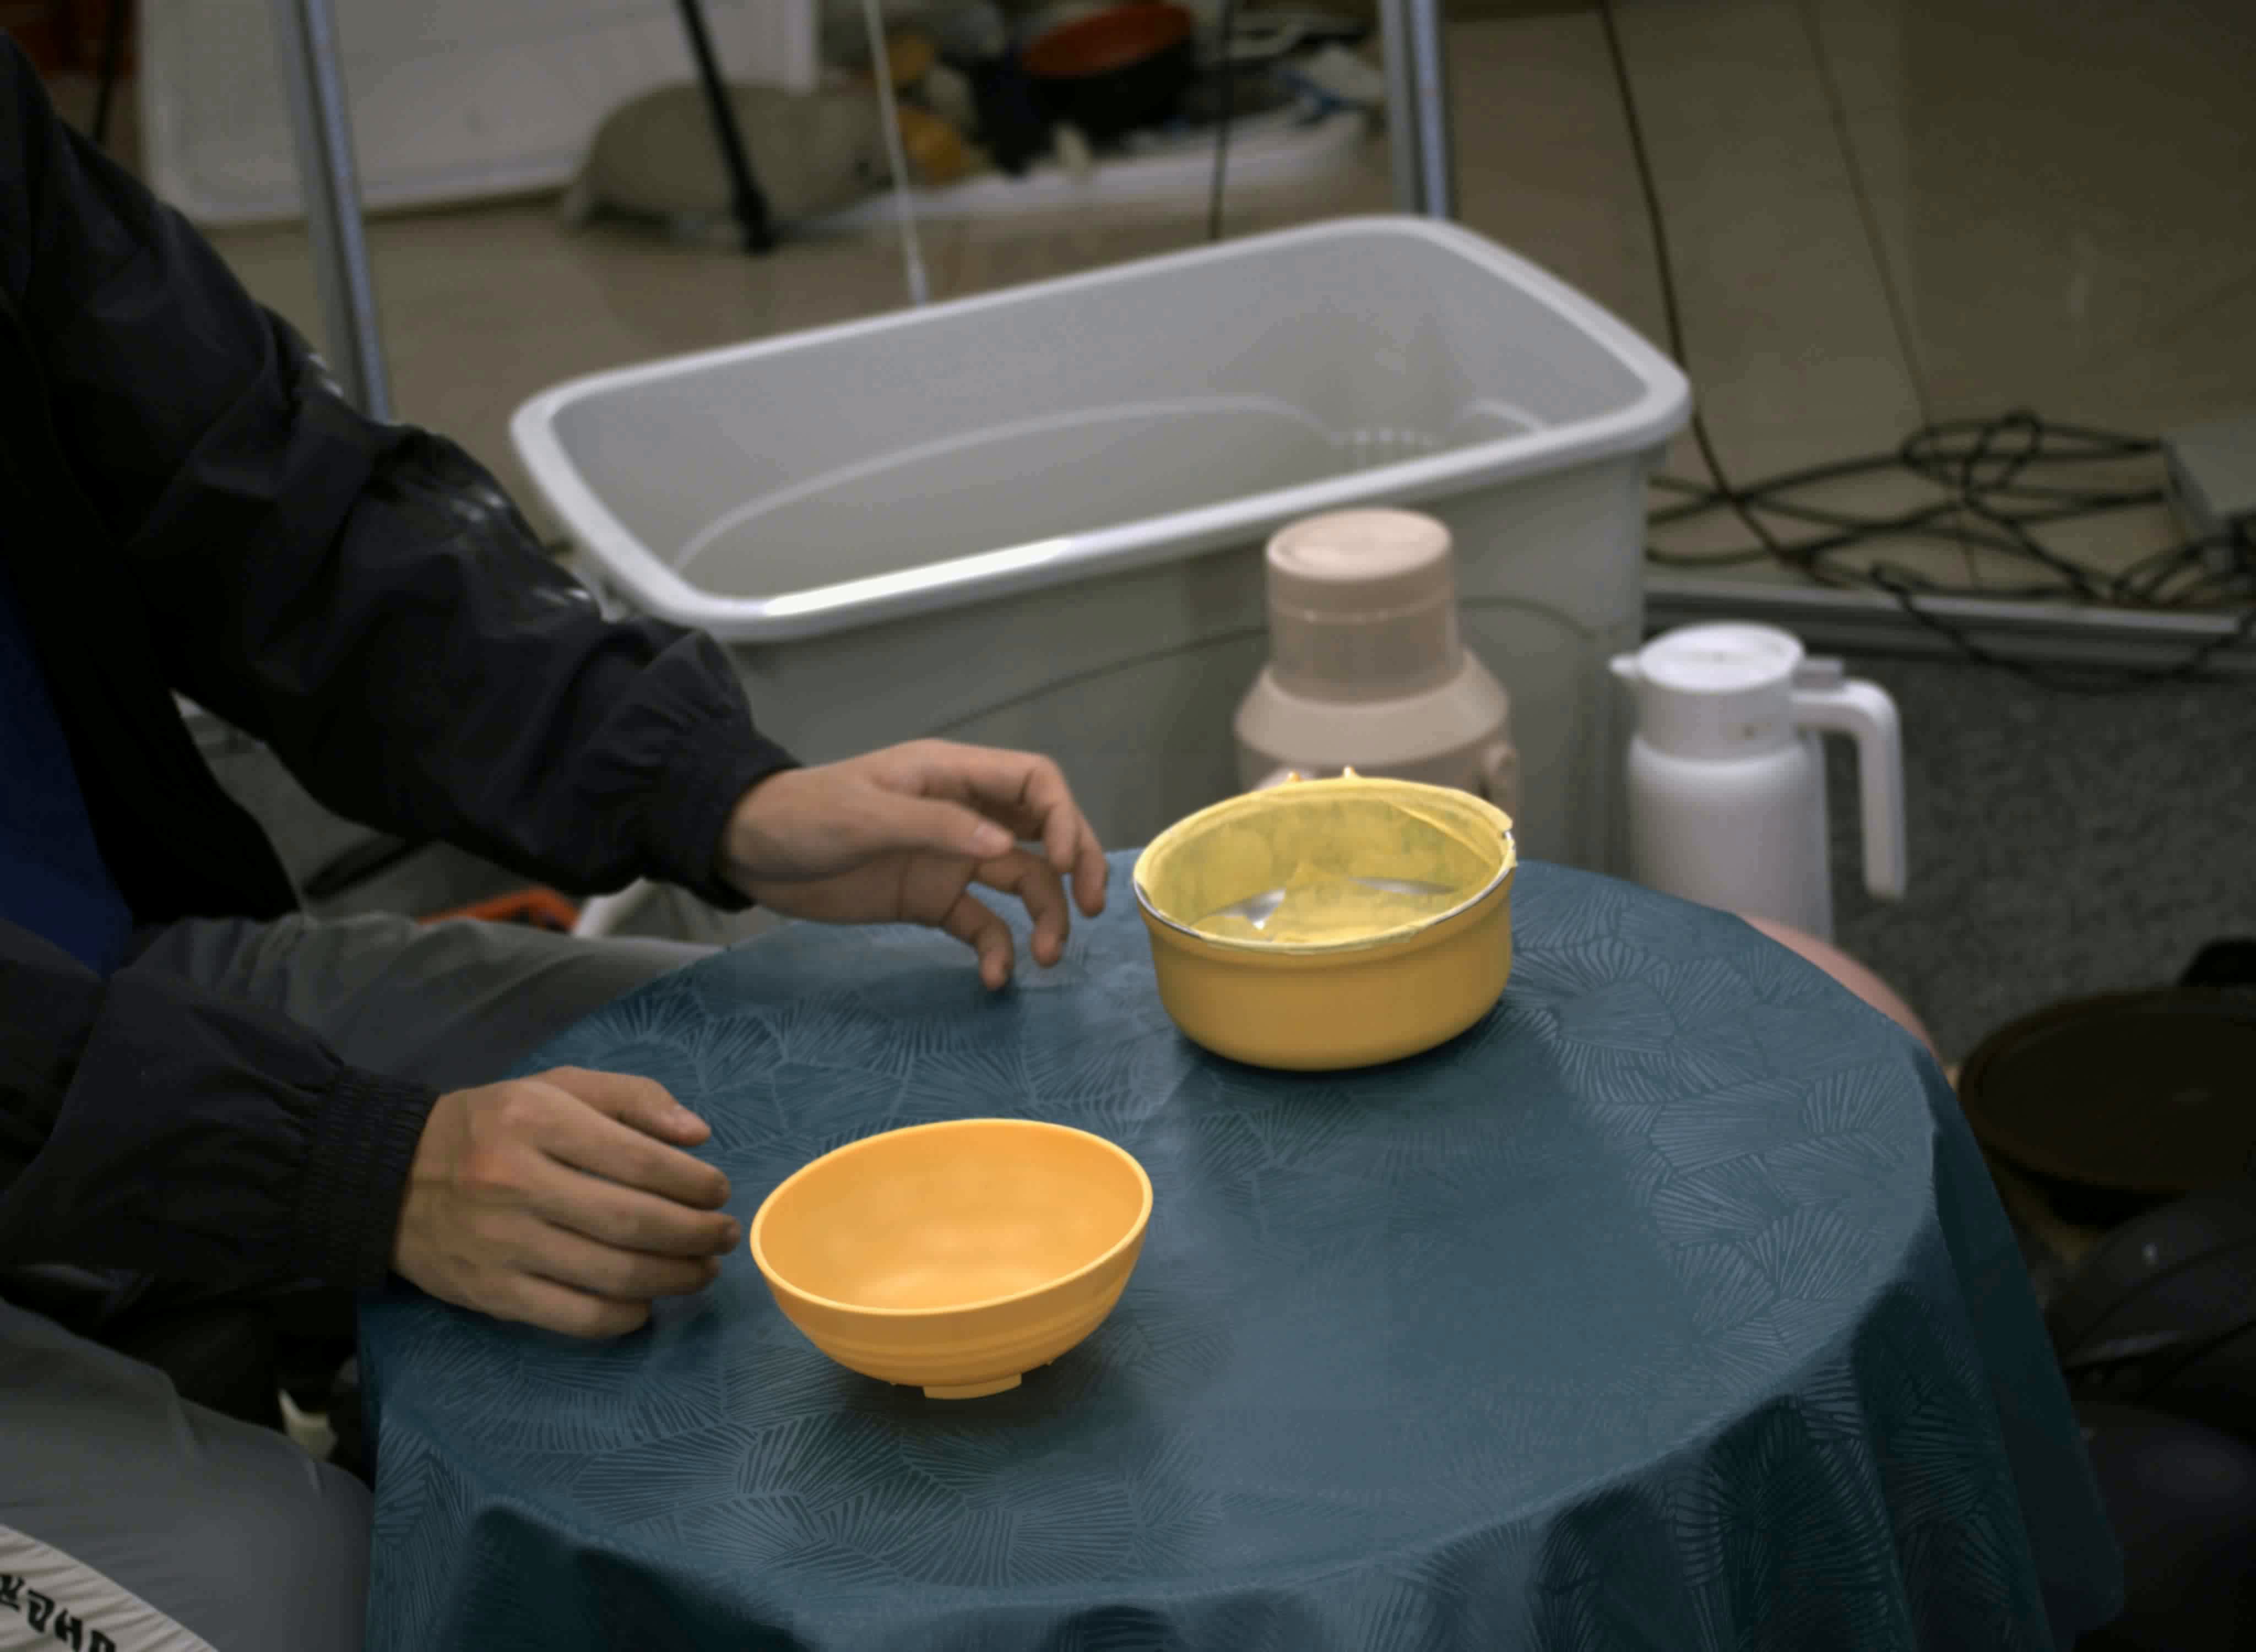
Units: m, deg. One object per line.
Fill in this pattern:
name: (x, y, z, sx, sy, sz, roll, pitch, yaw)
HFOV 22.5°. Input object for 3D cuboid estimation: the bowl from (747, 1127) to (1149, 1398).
bowl: (-0.063, 0.164, 2.037, 0.145, 0.061, 0.143, -4, 23, 2)

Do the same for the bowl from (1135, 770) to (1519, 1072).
bowl: (0.082, 0.037, 2.264, 0.153, 0.075, 0.176, -9, 26, 1)
